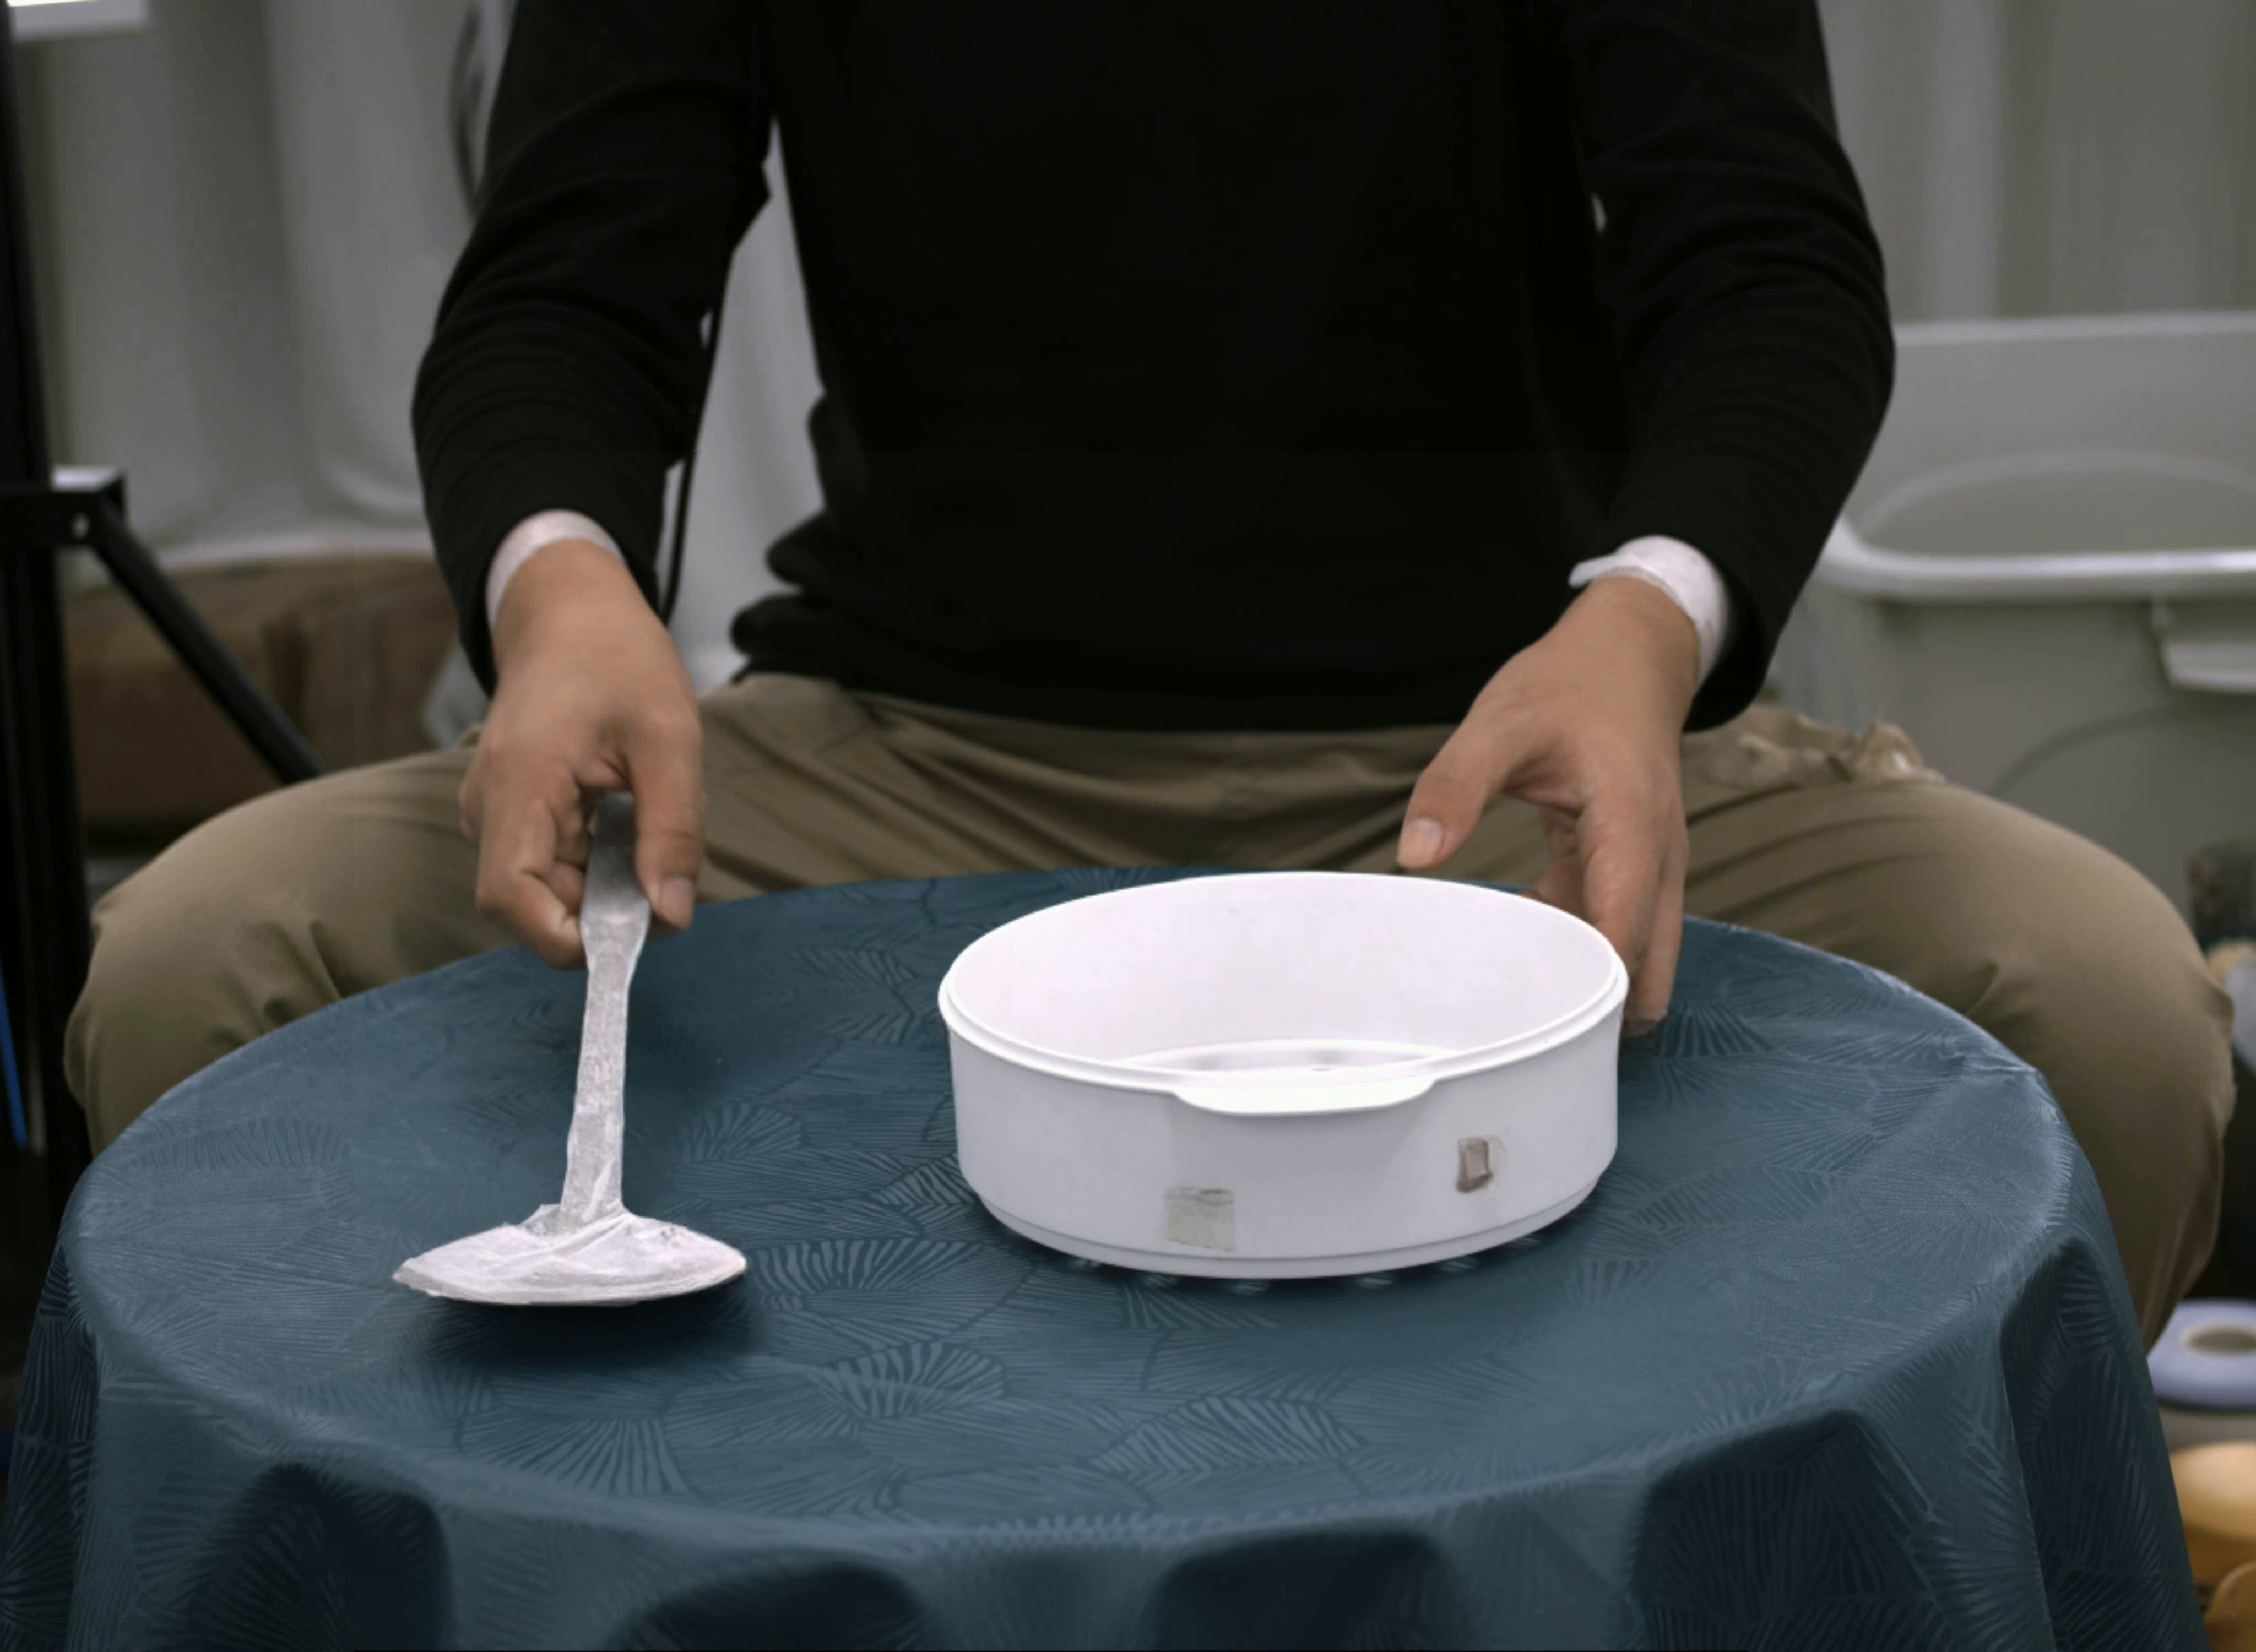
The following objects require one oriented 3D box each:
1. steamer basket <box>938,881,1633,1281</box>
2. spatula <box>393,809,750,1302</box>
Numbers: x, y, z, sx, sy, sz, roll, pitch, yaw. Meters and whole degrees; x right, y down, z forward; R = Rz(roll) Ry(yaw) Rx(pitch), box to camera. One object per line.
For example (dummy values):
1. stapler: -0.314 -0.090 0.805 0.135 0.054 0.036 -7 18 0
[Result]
1. steamer basket: 0.046 0.074 1.544 0.201 0.069 0.231 -1 15 0
2. spatula: -0.153 0.061 1.605 0.098 0.044 0.367 -4 27 1
